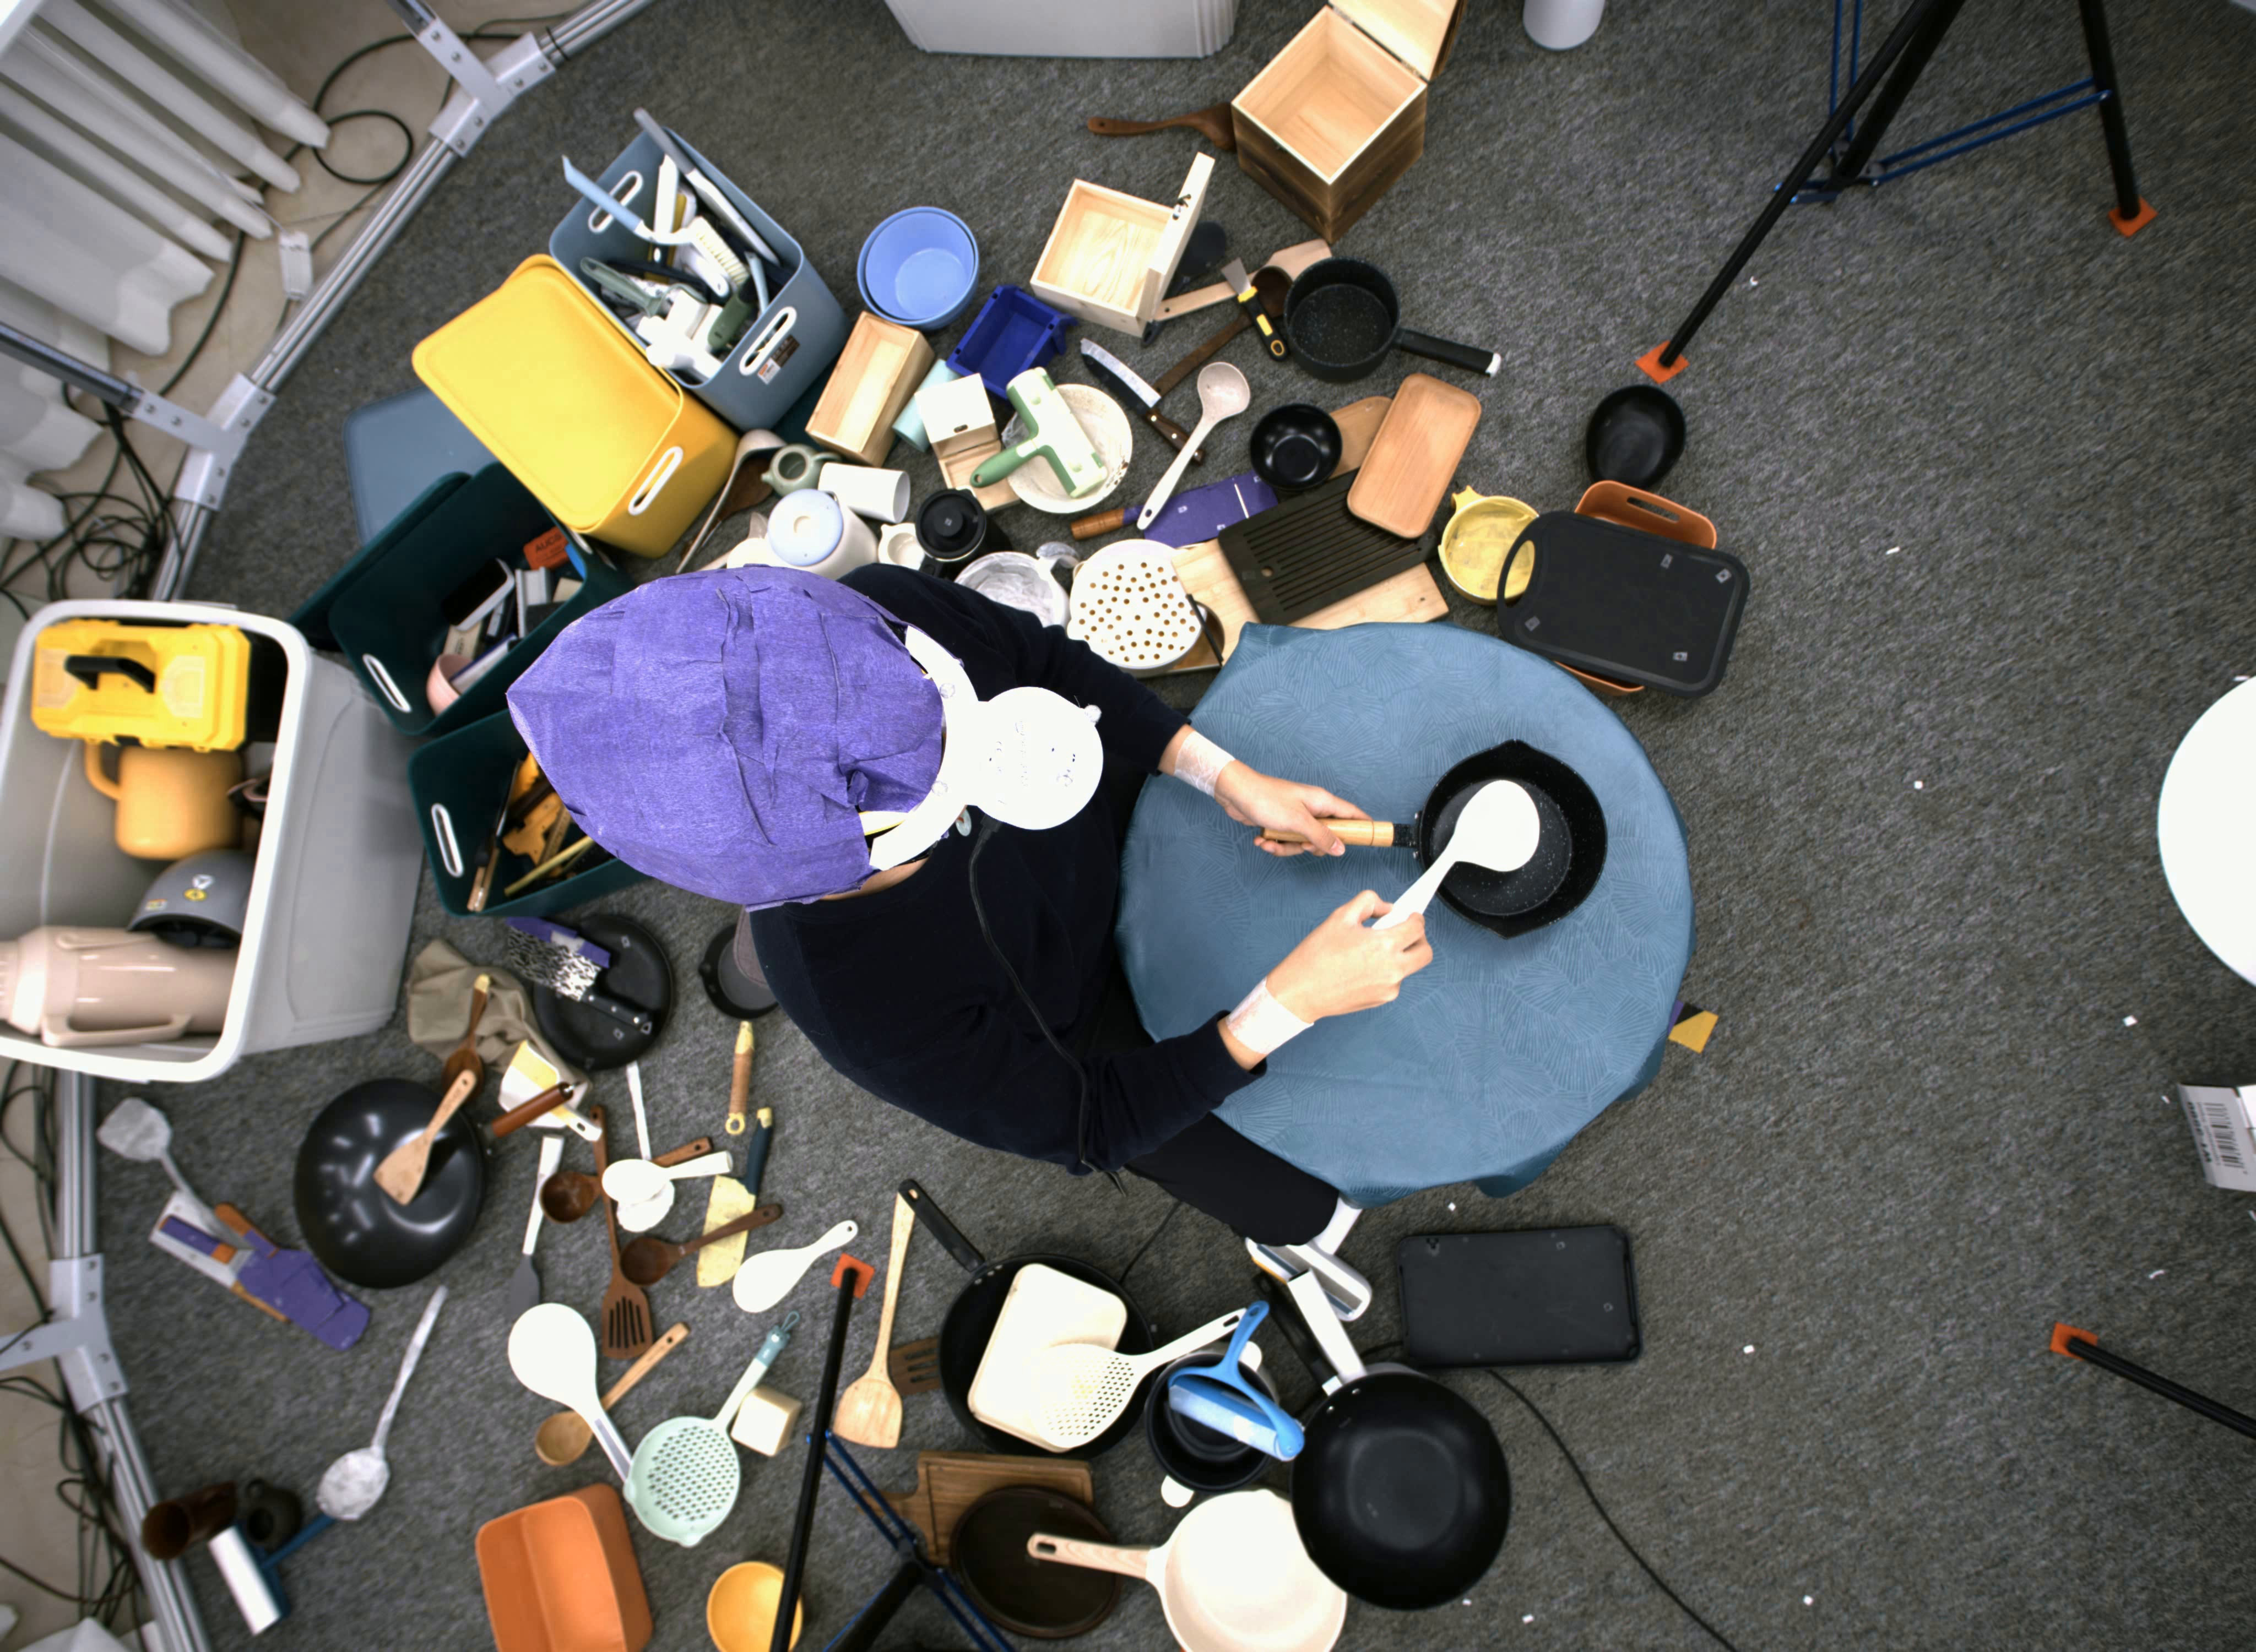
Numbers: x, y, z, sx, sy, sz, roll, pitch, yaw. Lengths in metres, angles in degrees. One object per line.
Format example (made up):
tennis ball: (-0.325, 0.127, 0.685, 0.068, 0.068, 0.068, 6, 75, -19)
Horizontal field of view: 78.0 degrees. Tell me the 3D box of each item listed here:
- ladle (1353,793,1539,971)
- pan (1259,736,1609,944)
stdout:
ladle: (0.300, 0.053, 1.273, 0.070, 0.287, 0.091, 1, 114, 37)
pan: (0.305, 0.013, 1.396, 0.344, 0.108, 0.207, 1, 87, 7)
